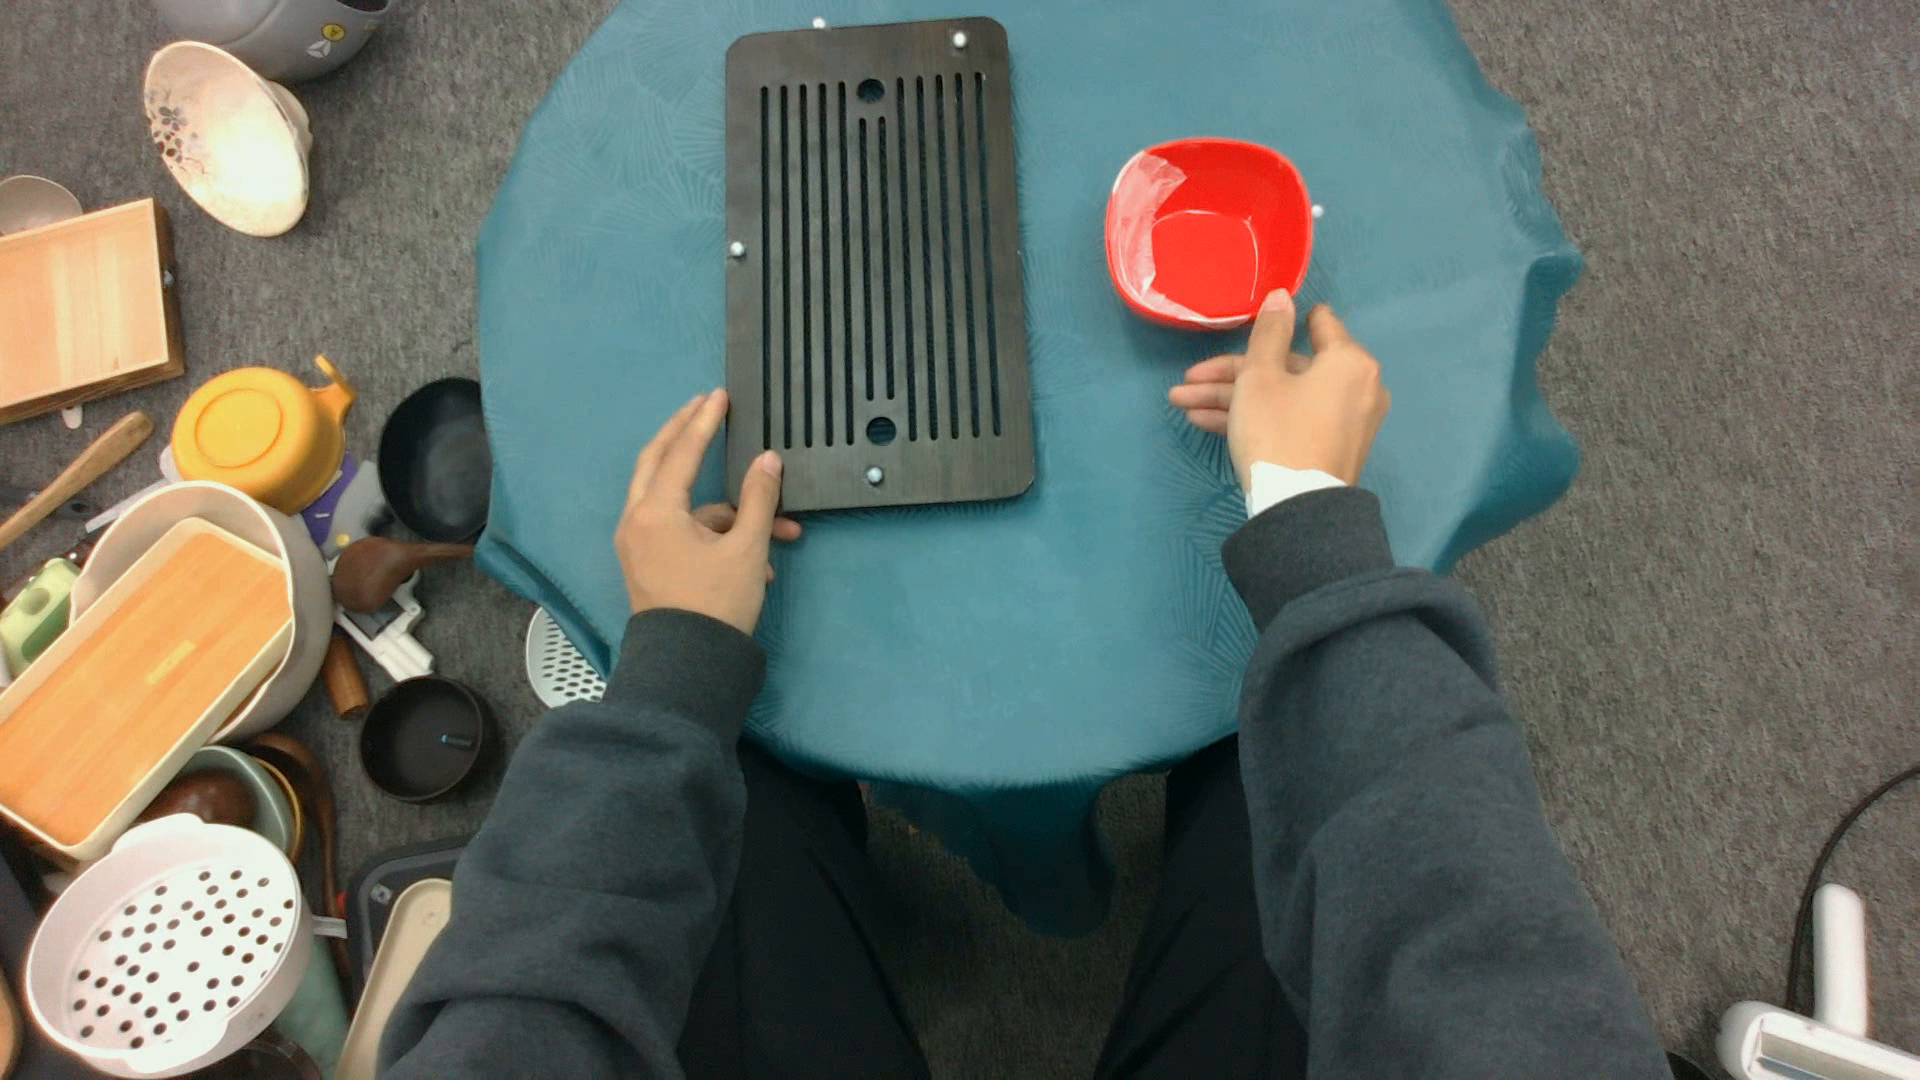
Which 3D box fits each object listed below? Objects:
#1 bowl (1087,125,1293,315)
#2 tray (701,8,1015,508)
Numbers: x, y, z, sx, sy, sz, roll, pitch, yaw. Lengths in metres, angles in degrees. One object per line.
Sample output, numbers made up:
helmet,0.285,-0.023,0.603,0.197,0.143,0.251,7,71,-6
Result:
bowl,0.124,-0.168,0.762,0.119,0.051,0.119,-1,72,2
tray,-0.062,-0.167,0.789,0.170,0.018,0.306,-4,73,1
